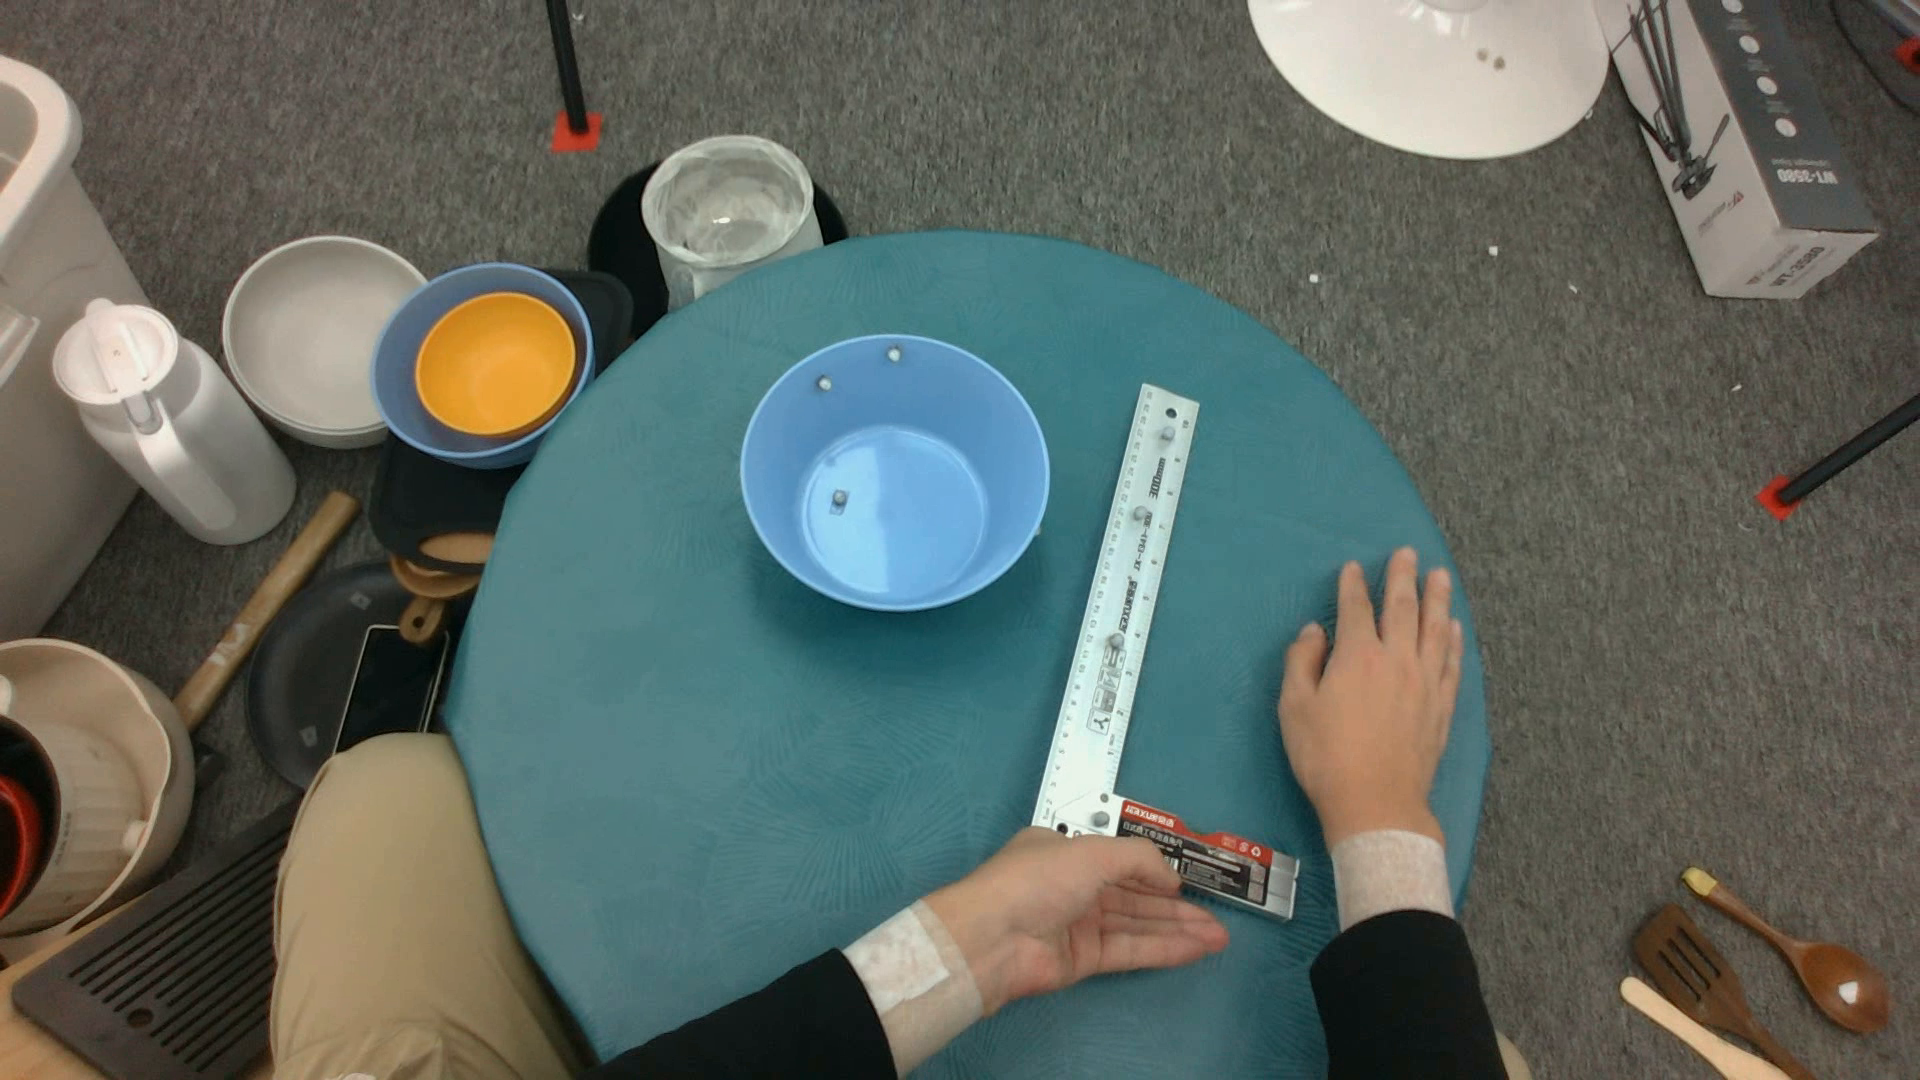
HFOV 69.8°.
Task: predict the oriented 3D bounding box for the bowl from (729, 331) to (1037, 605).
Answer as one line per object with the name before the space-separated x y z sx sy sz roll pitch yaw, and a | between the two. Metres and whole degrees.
bowl | -0.046 -0.031 0.810 0.176 0.070 0.176 3 65 -6

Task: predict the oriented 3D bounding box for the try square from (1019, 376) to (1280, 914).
try square | 0.139 0.051 0.826 0.152 0.016 0.314 21 60 -8
